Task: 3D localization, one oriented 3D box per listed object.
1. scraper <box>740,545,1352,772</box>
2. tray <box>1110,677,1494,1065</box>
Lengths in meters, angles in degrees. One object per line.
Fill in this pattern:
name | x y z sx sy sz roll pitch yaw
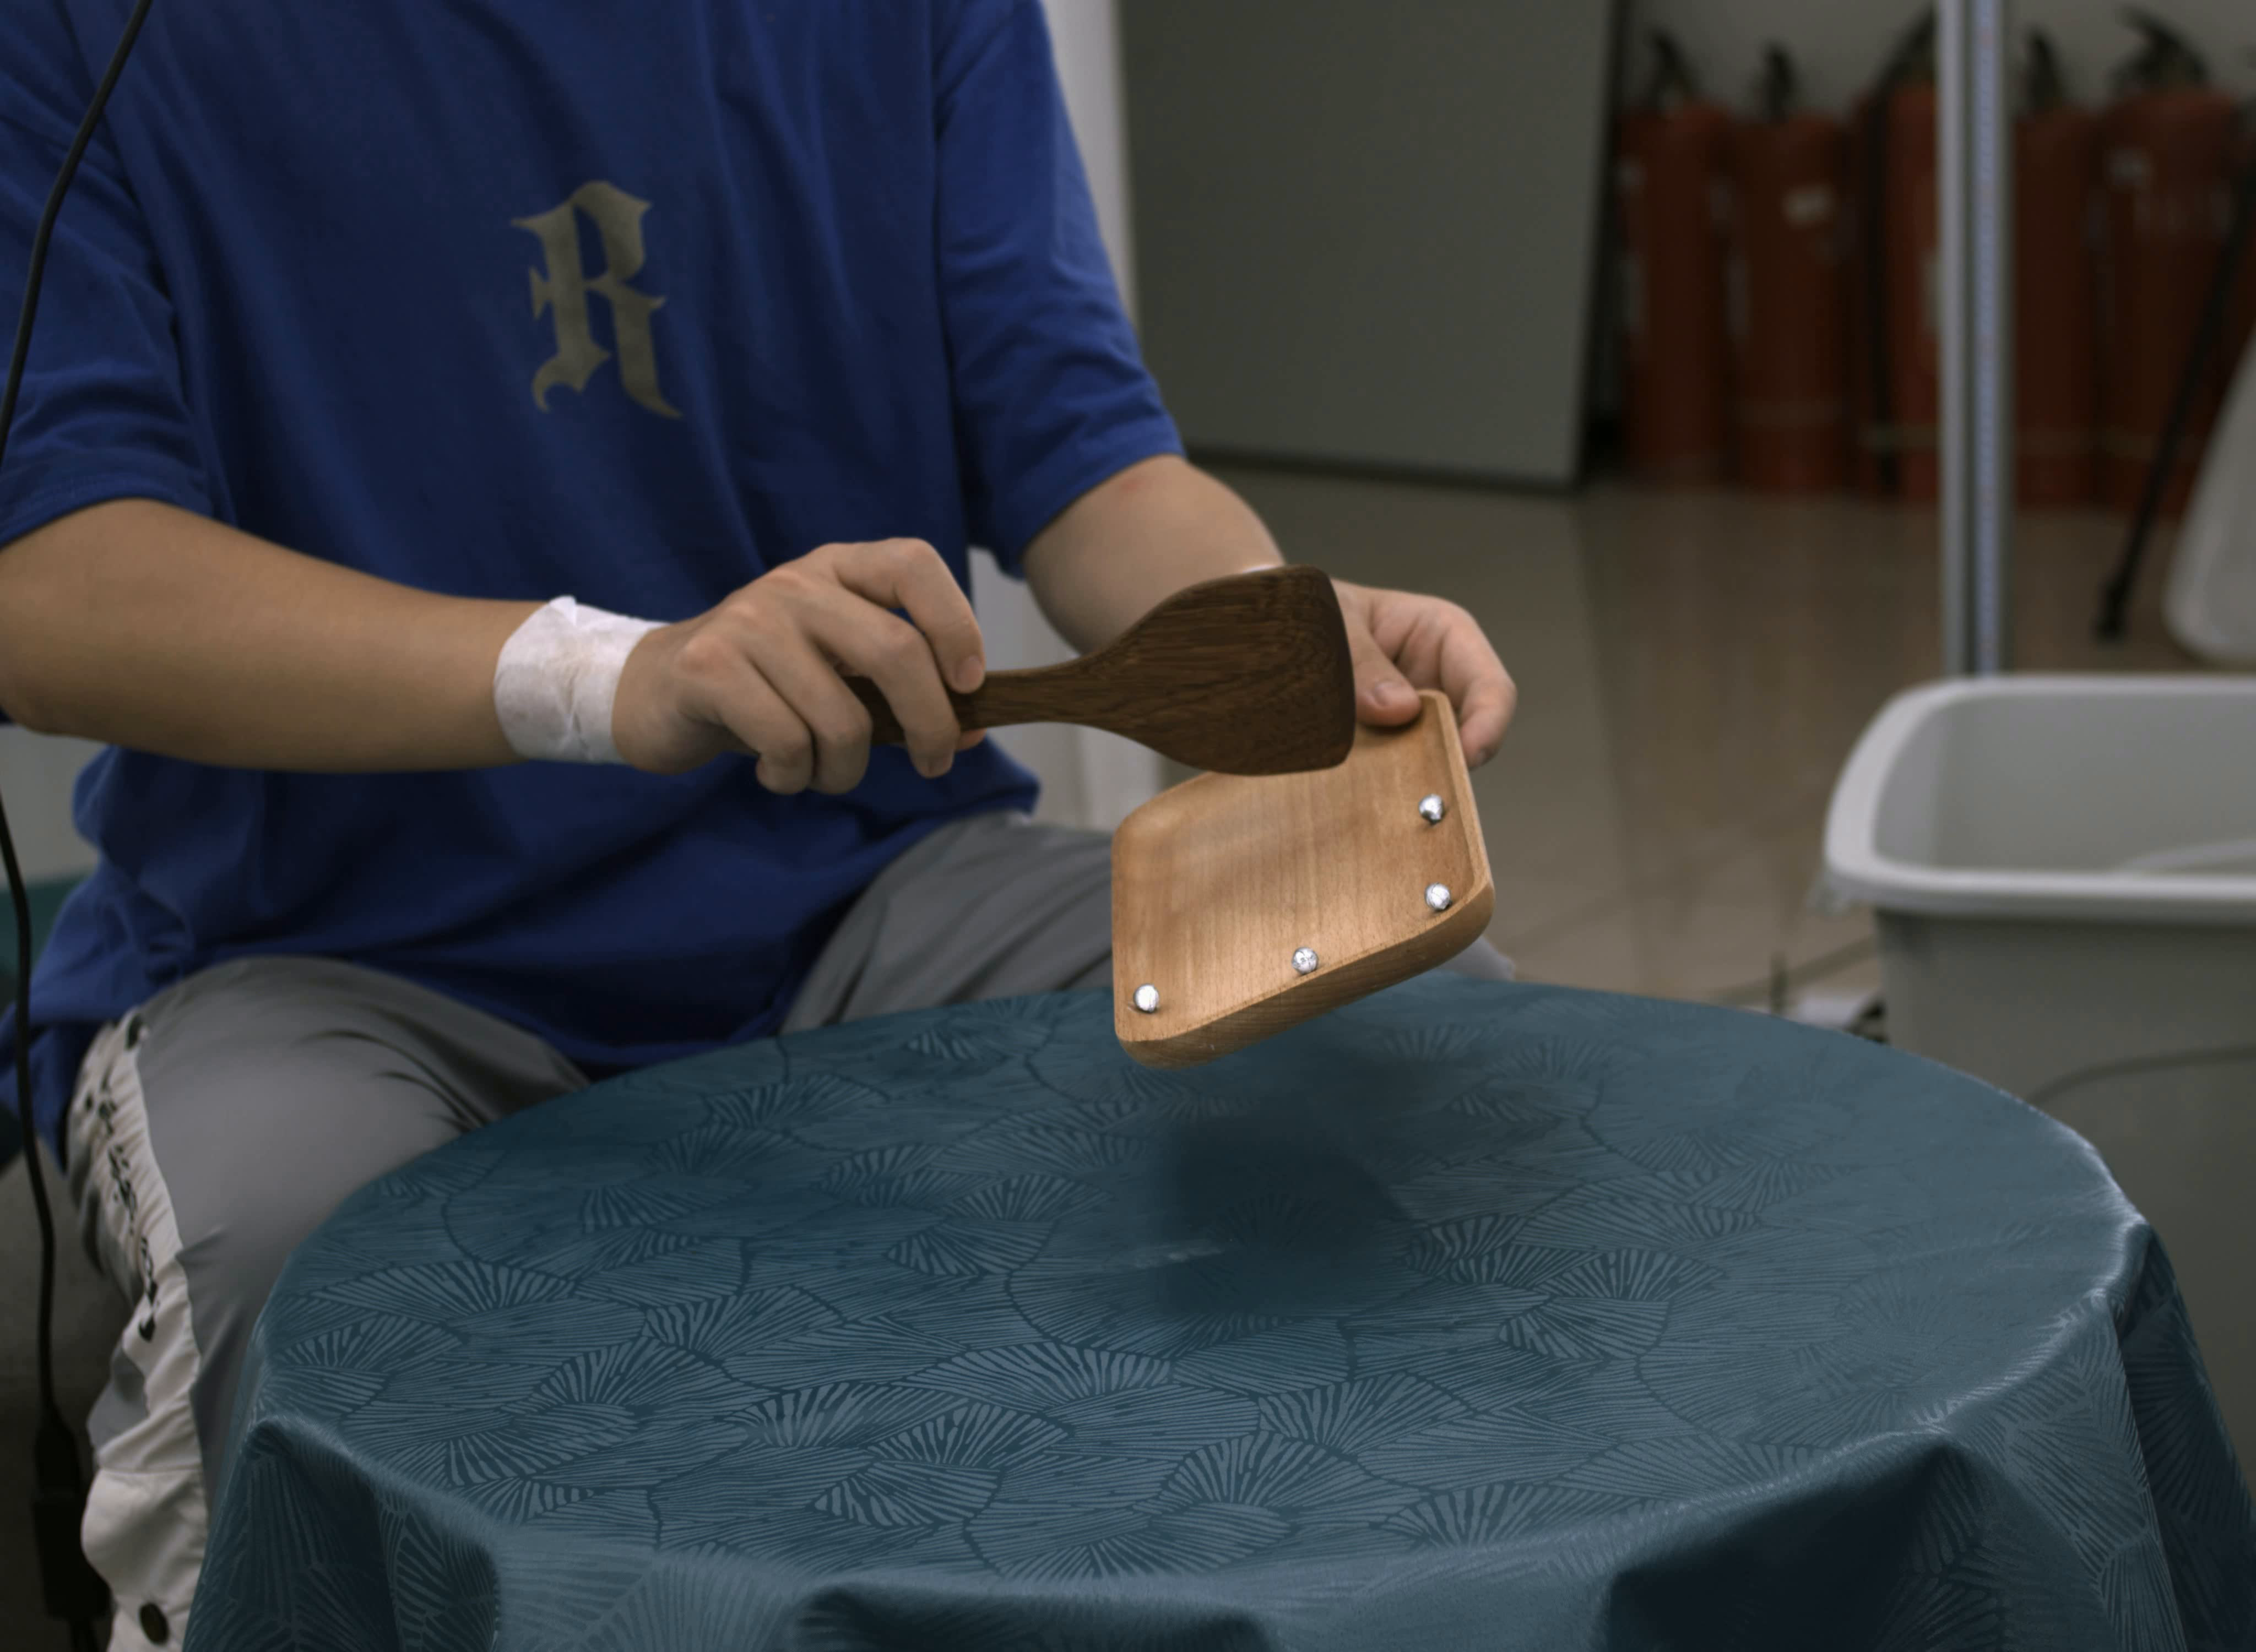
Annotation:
scraper | -0.029 -0.045 1.798 0.210 0.076 0.011 -7 20 15
tray | 0.055 0.012 1.750 0.130 0.023 0.251 -21 16 7
